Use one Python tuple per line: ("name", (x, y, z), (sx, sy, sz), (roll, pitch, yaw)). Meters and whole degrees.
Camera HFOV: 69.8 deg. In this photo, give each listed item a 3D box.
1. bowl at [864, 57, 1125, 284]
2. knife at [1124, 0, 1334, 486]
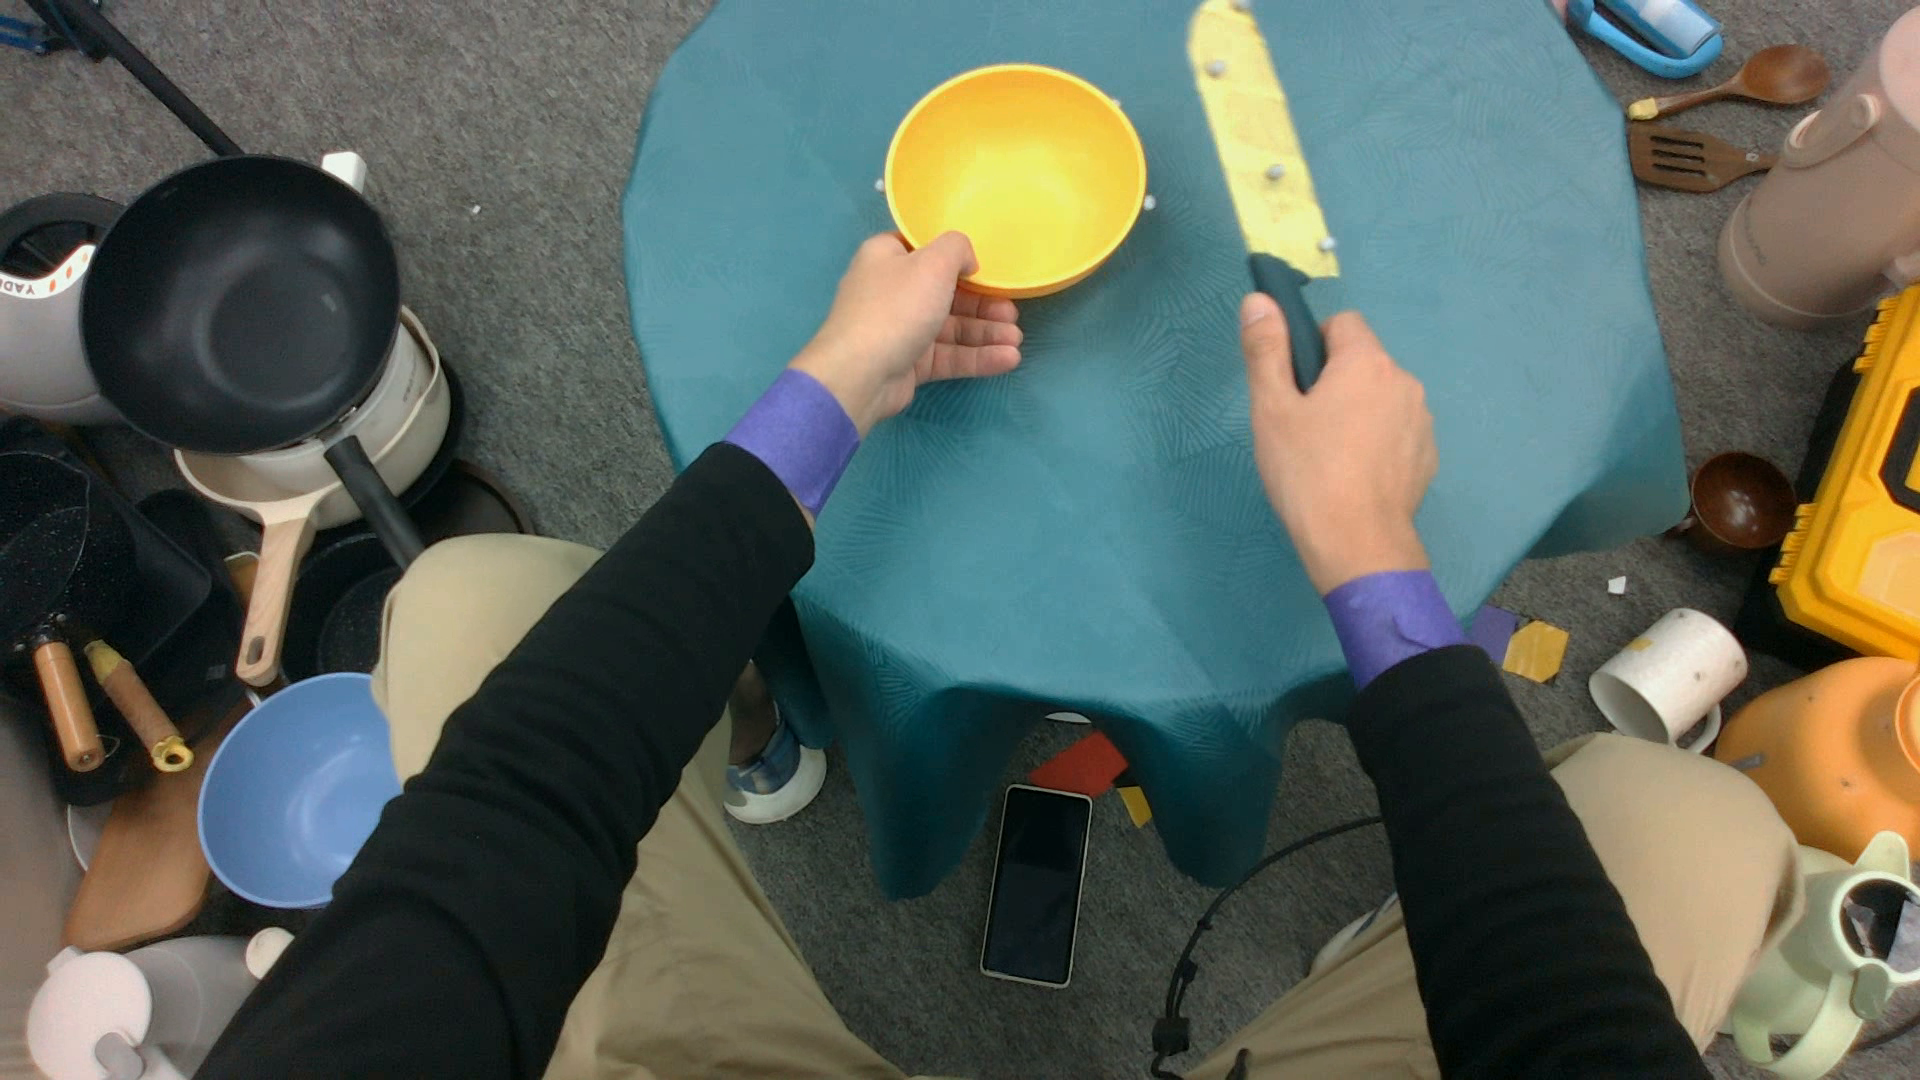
("bowl", (0.021, -0.200, 0.788), (0.145, 0.060, 0.146), (-1, 68, 4))
("knife", (0.144, -0.168, 0.716), (0.081, 0.027, 0.289), (-13, 83, -41))
